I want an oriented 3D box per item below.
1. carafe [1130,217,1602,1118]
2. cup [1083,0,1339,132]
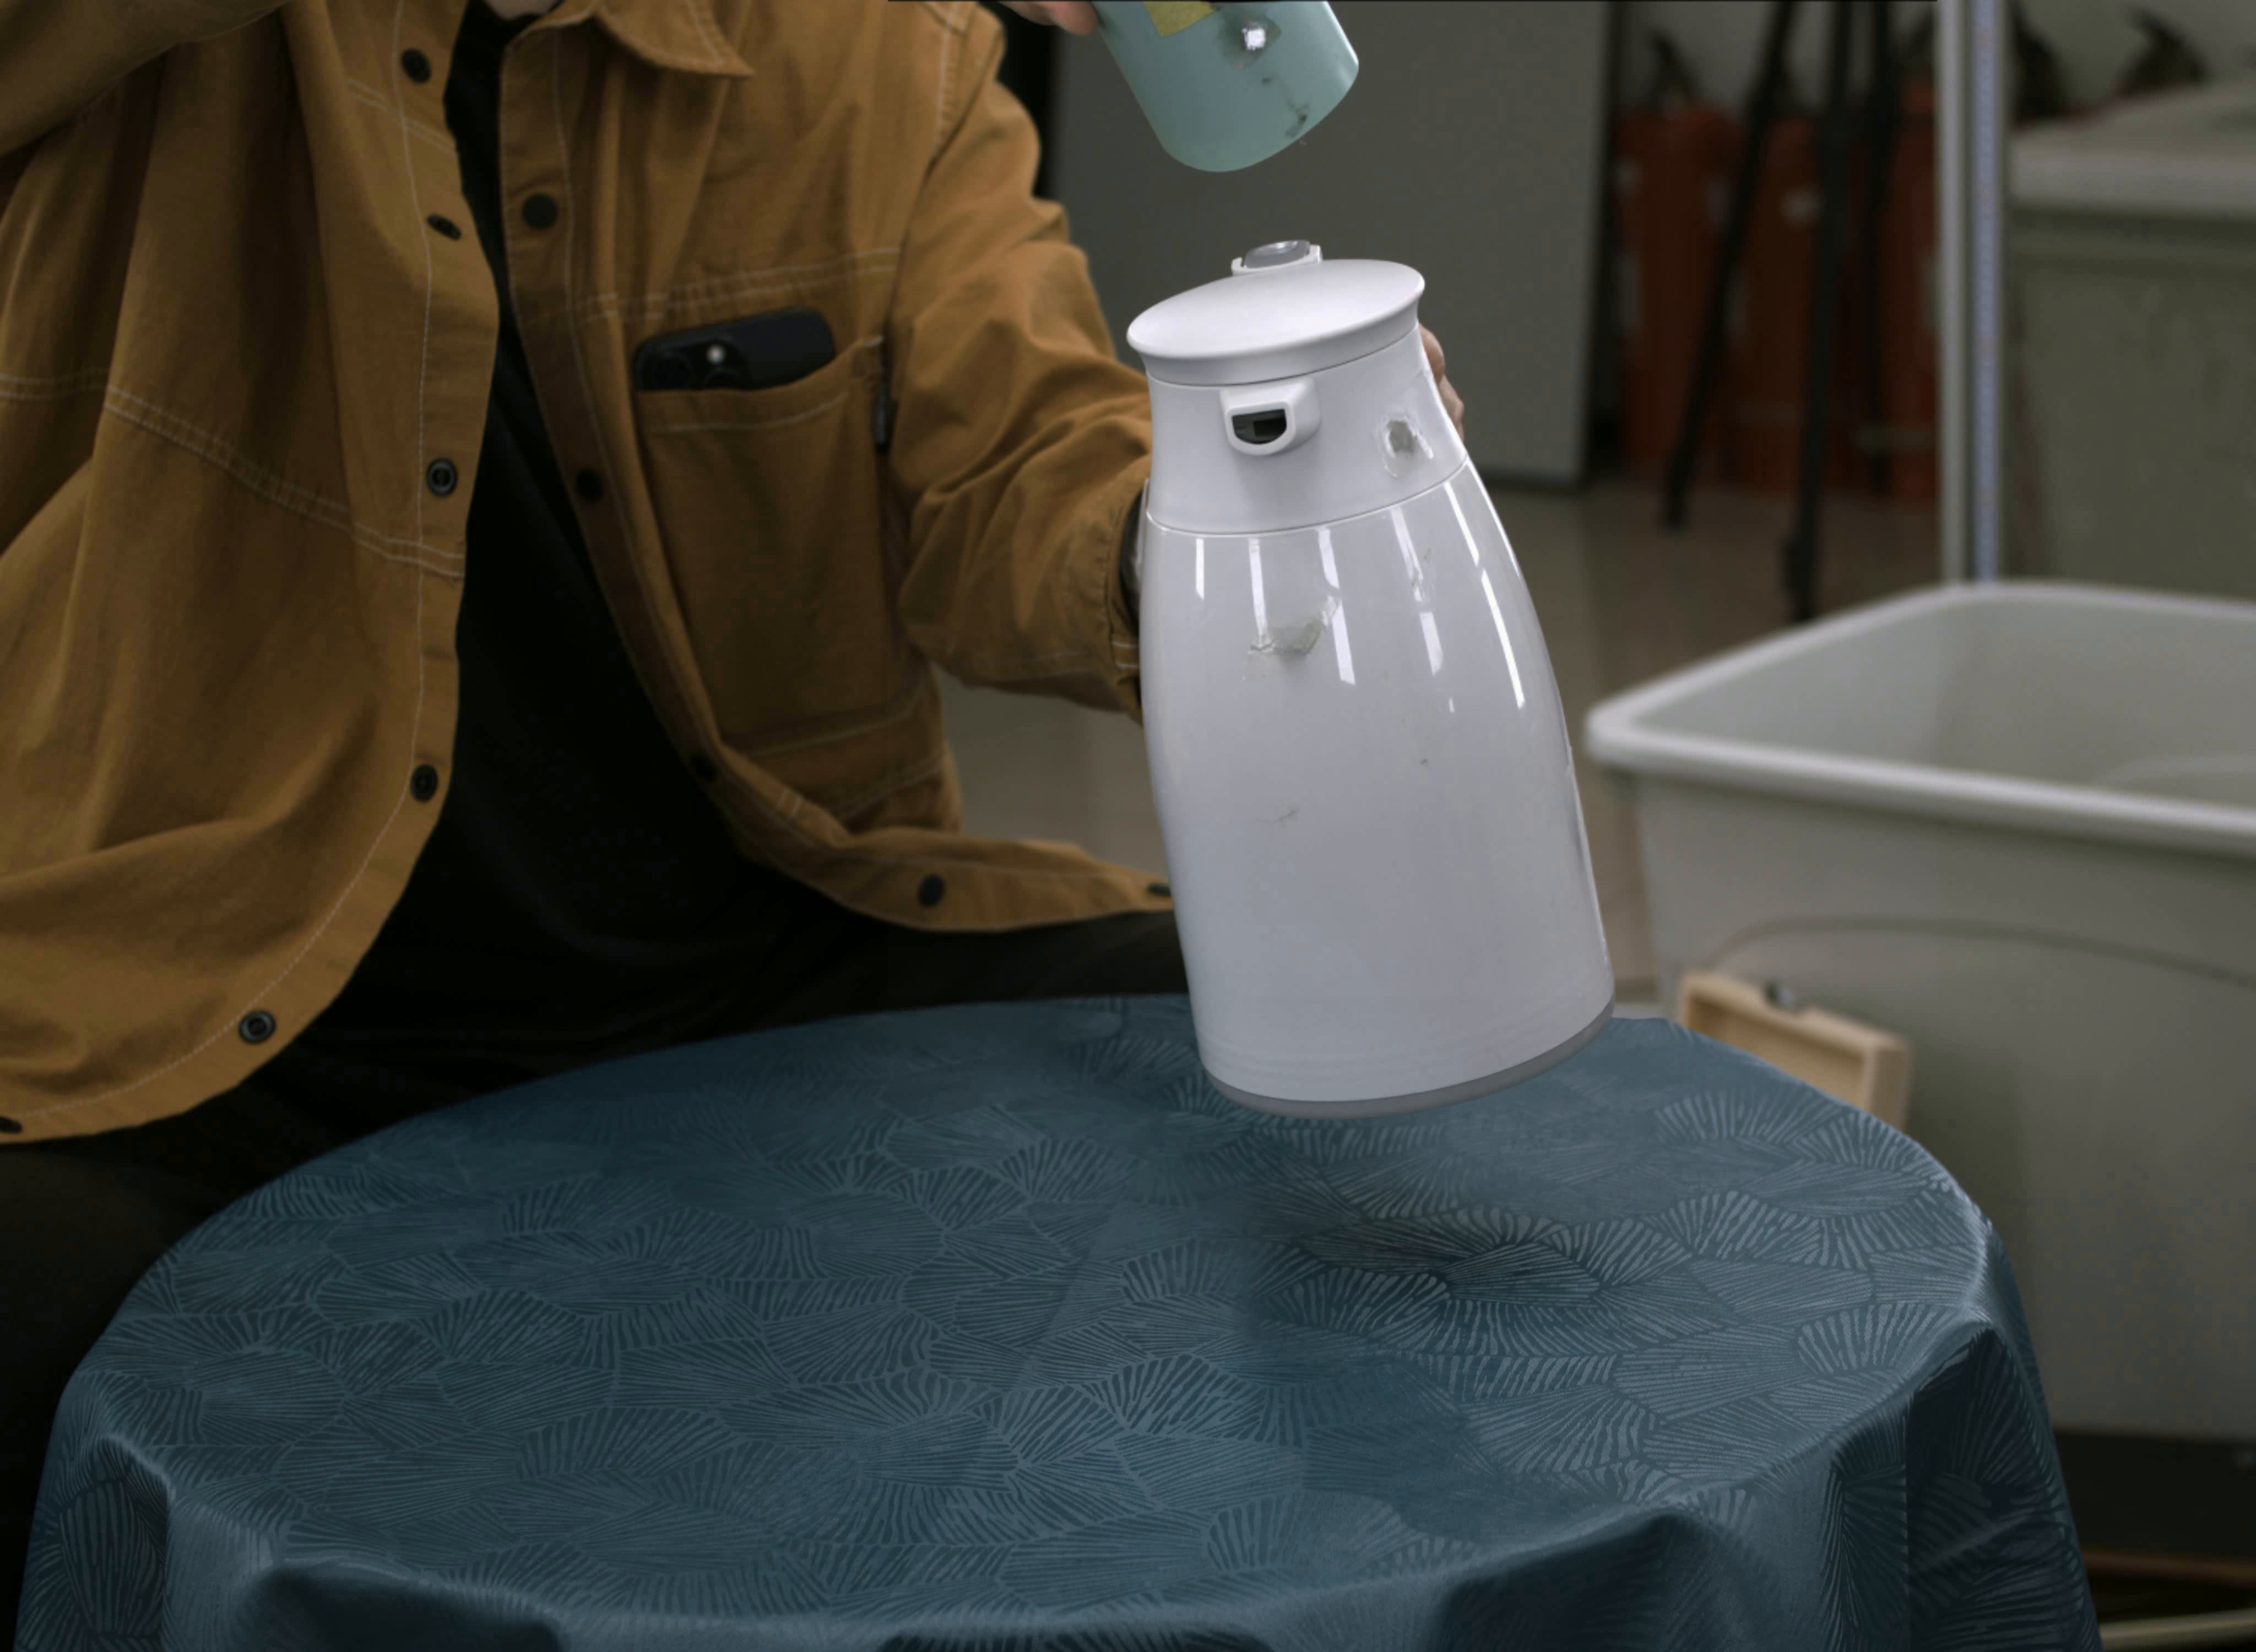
[{"bbox_3d":[0.065,-0.058,1.664,0.132,0.251,0.167,-7,18,12],"label":"carafe"},{"bbox_3d":[0.004,-0.270,1.552,0.066,0.131,0.067,-21,37,16],"label":"cup"}]
